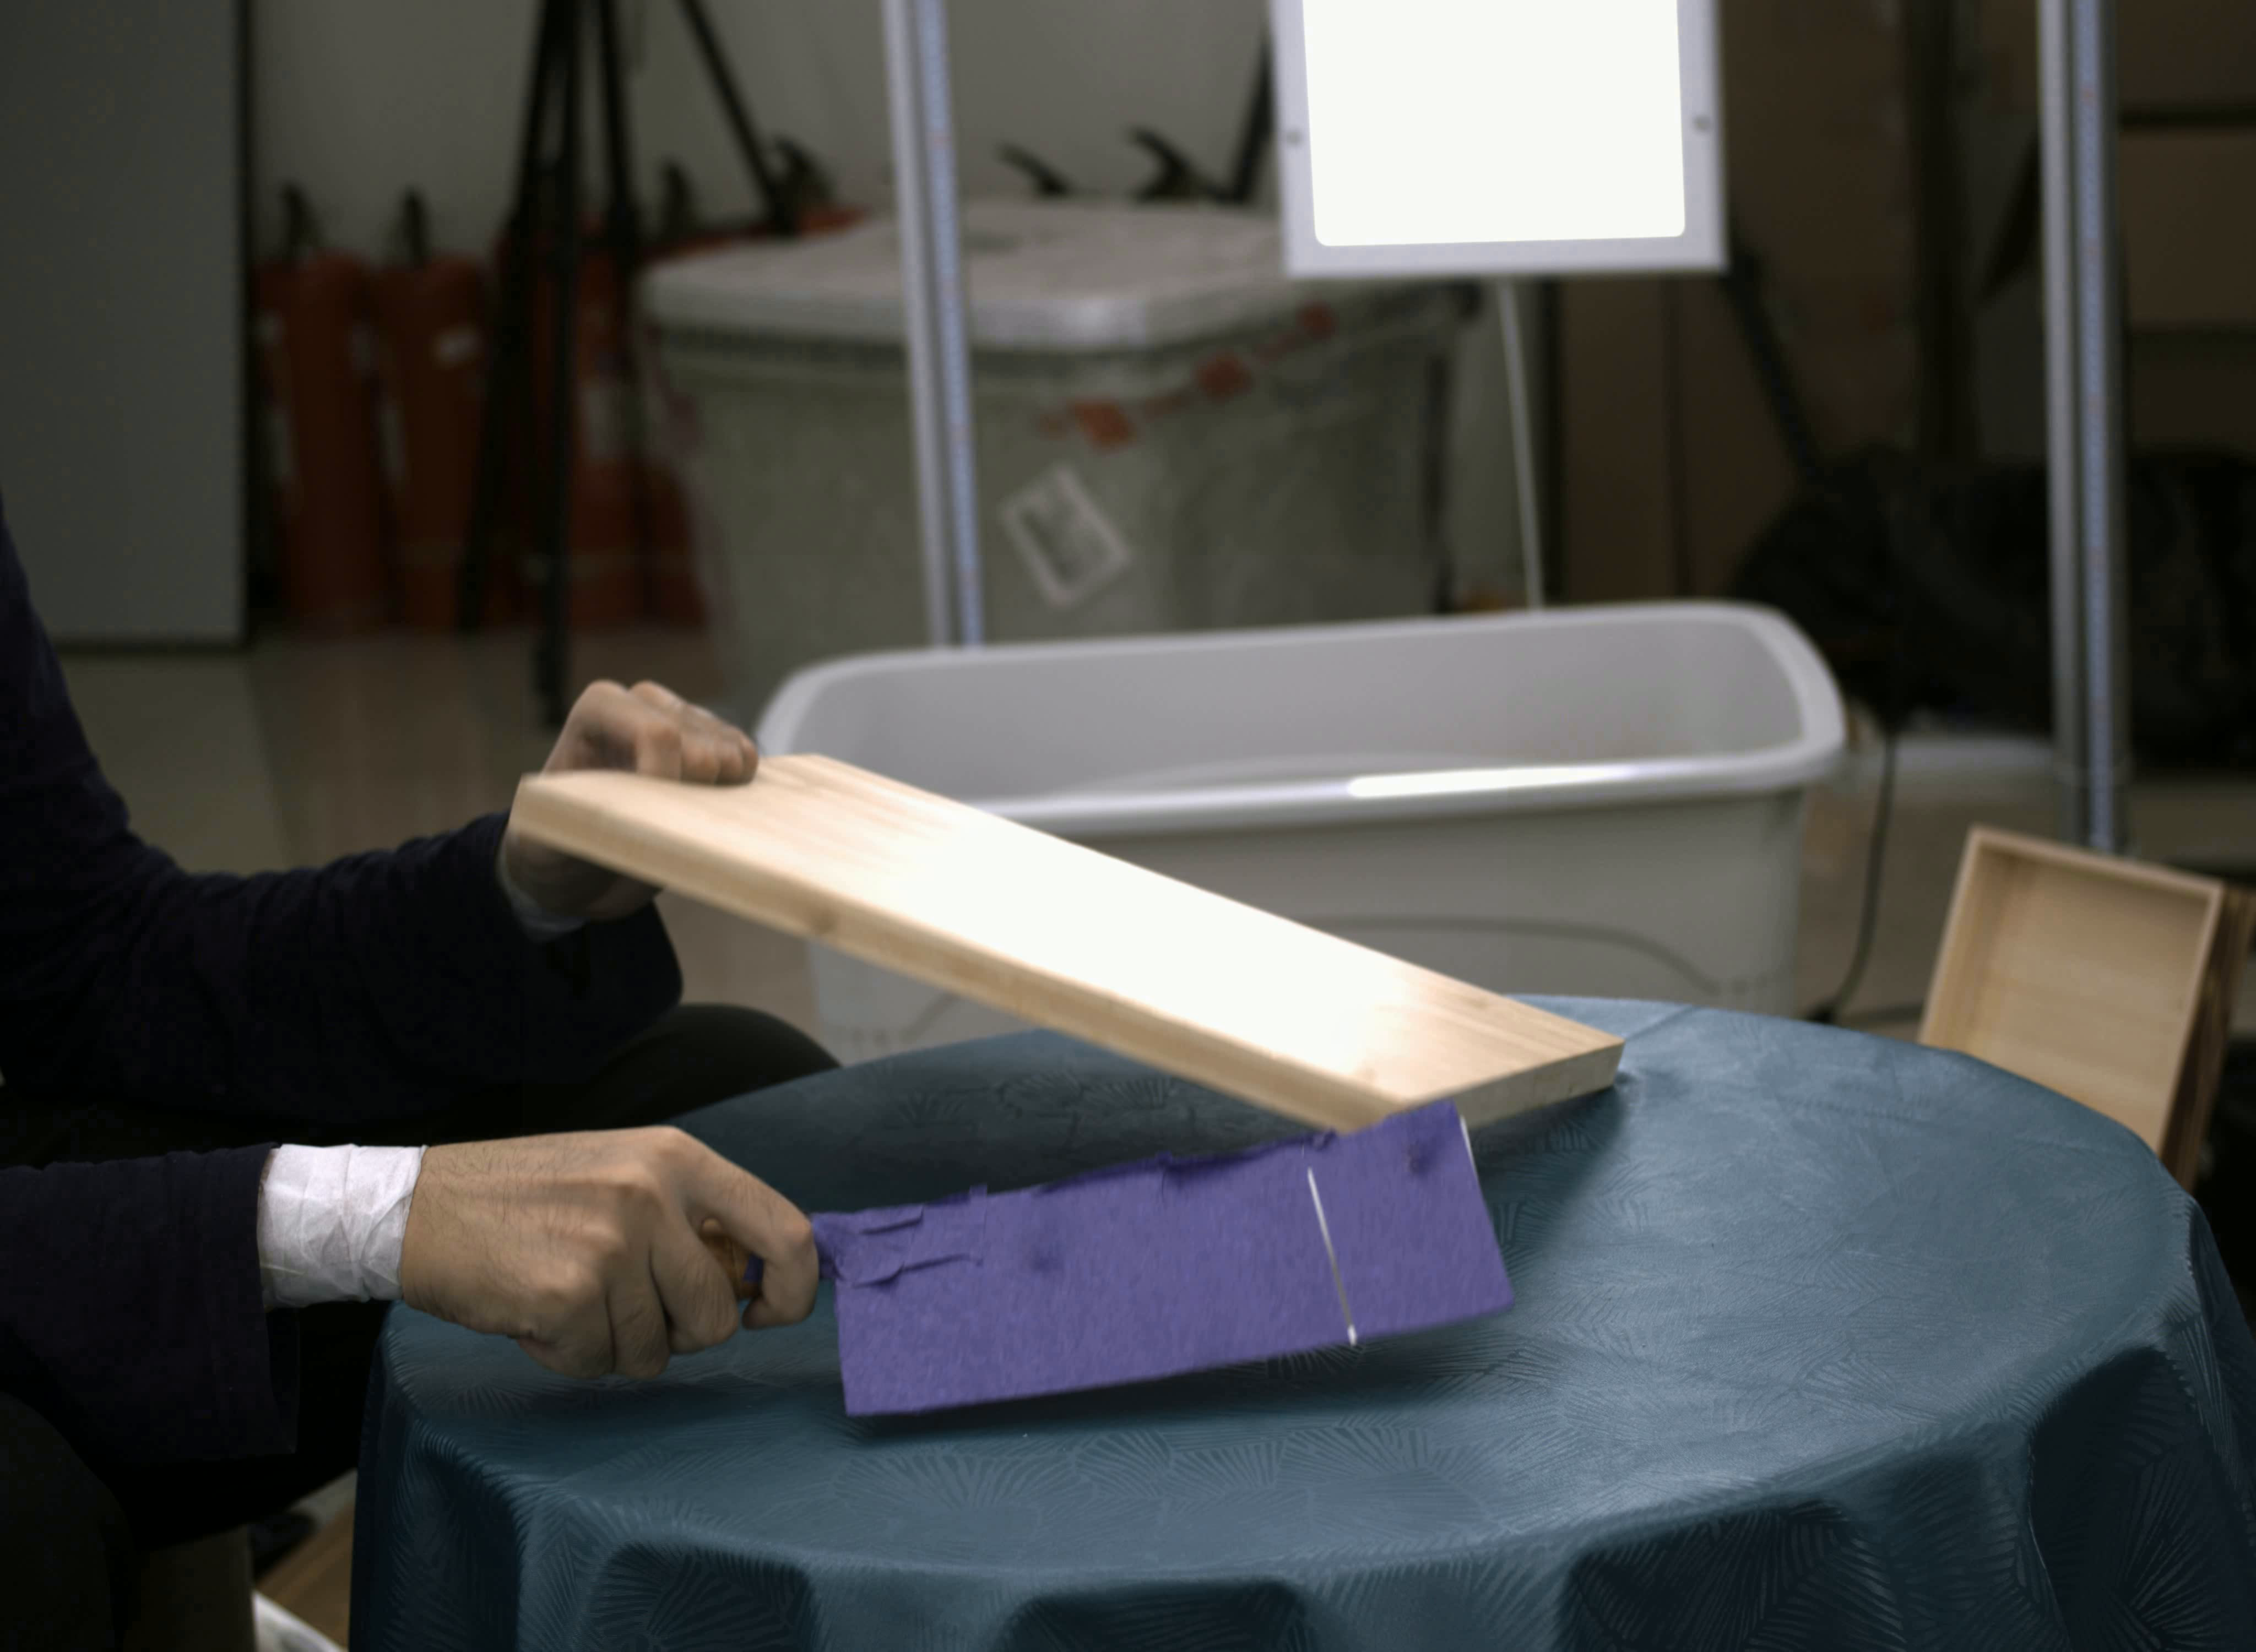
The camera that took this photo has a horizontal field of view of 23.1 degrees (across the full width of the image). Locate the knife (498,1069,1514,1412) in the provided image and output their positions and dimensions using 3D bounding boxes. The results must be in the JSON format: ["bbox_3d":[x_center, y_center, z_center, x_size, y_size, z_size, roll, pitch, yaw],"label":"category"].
[{"bbox_3d":[-0.039,0.138,1.709,0.315,0.032,0.104,-12,38,3],"label":"knife"}]

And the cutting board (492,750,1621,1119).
[{"bbox_3d":[-0.021,0.035,1.939,0.353,0.024,0.246,19,9,22],"label":"cutting board"}]
